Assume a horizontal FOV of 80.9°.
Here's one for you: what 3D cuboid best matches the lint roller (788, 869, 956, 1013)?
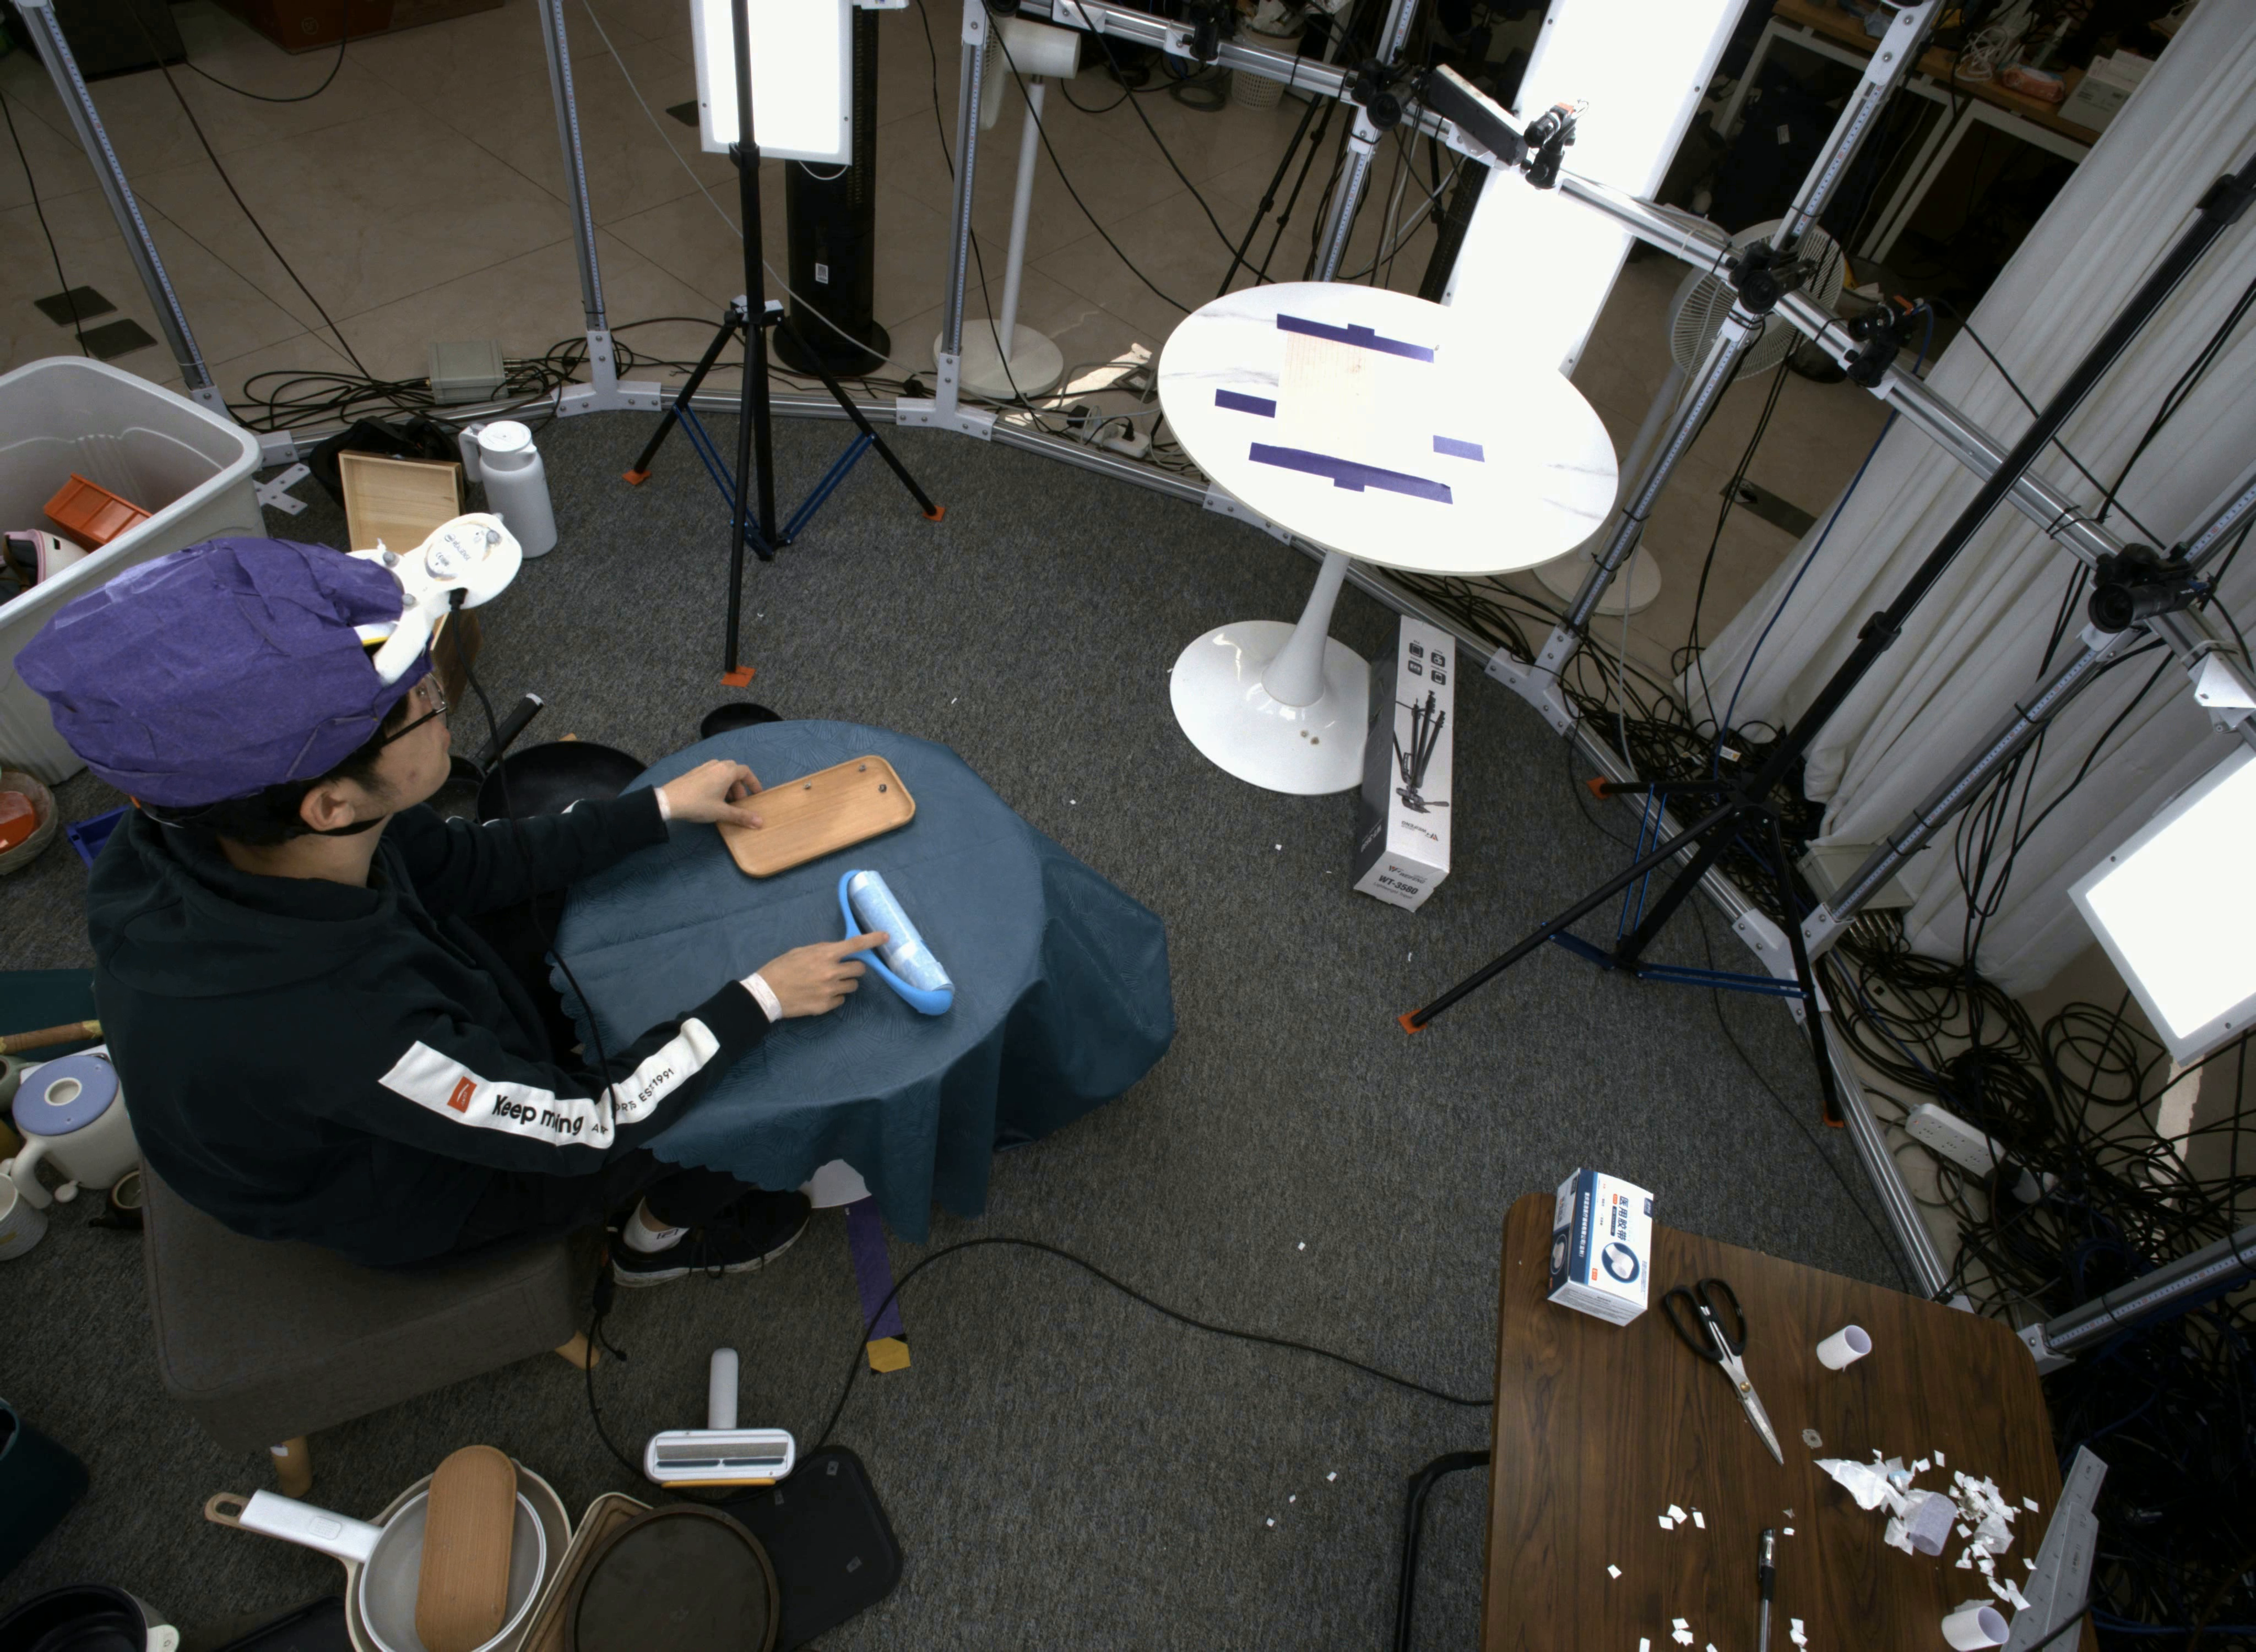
[{"bbox_3d":[-0.333,0.162,1.597,0.181,0.069,0.224,-27,66,-31],"label":"lint roller"}]

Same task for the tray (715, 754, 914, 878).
[{"bbox_3d":[-0.417,-0.016,1.733,0.252,0.023,0.127,-22,60,-27],"label":"tray"}]
